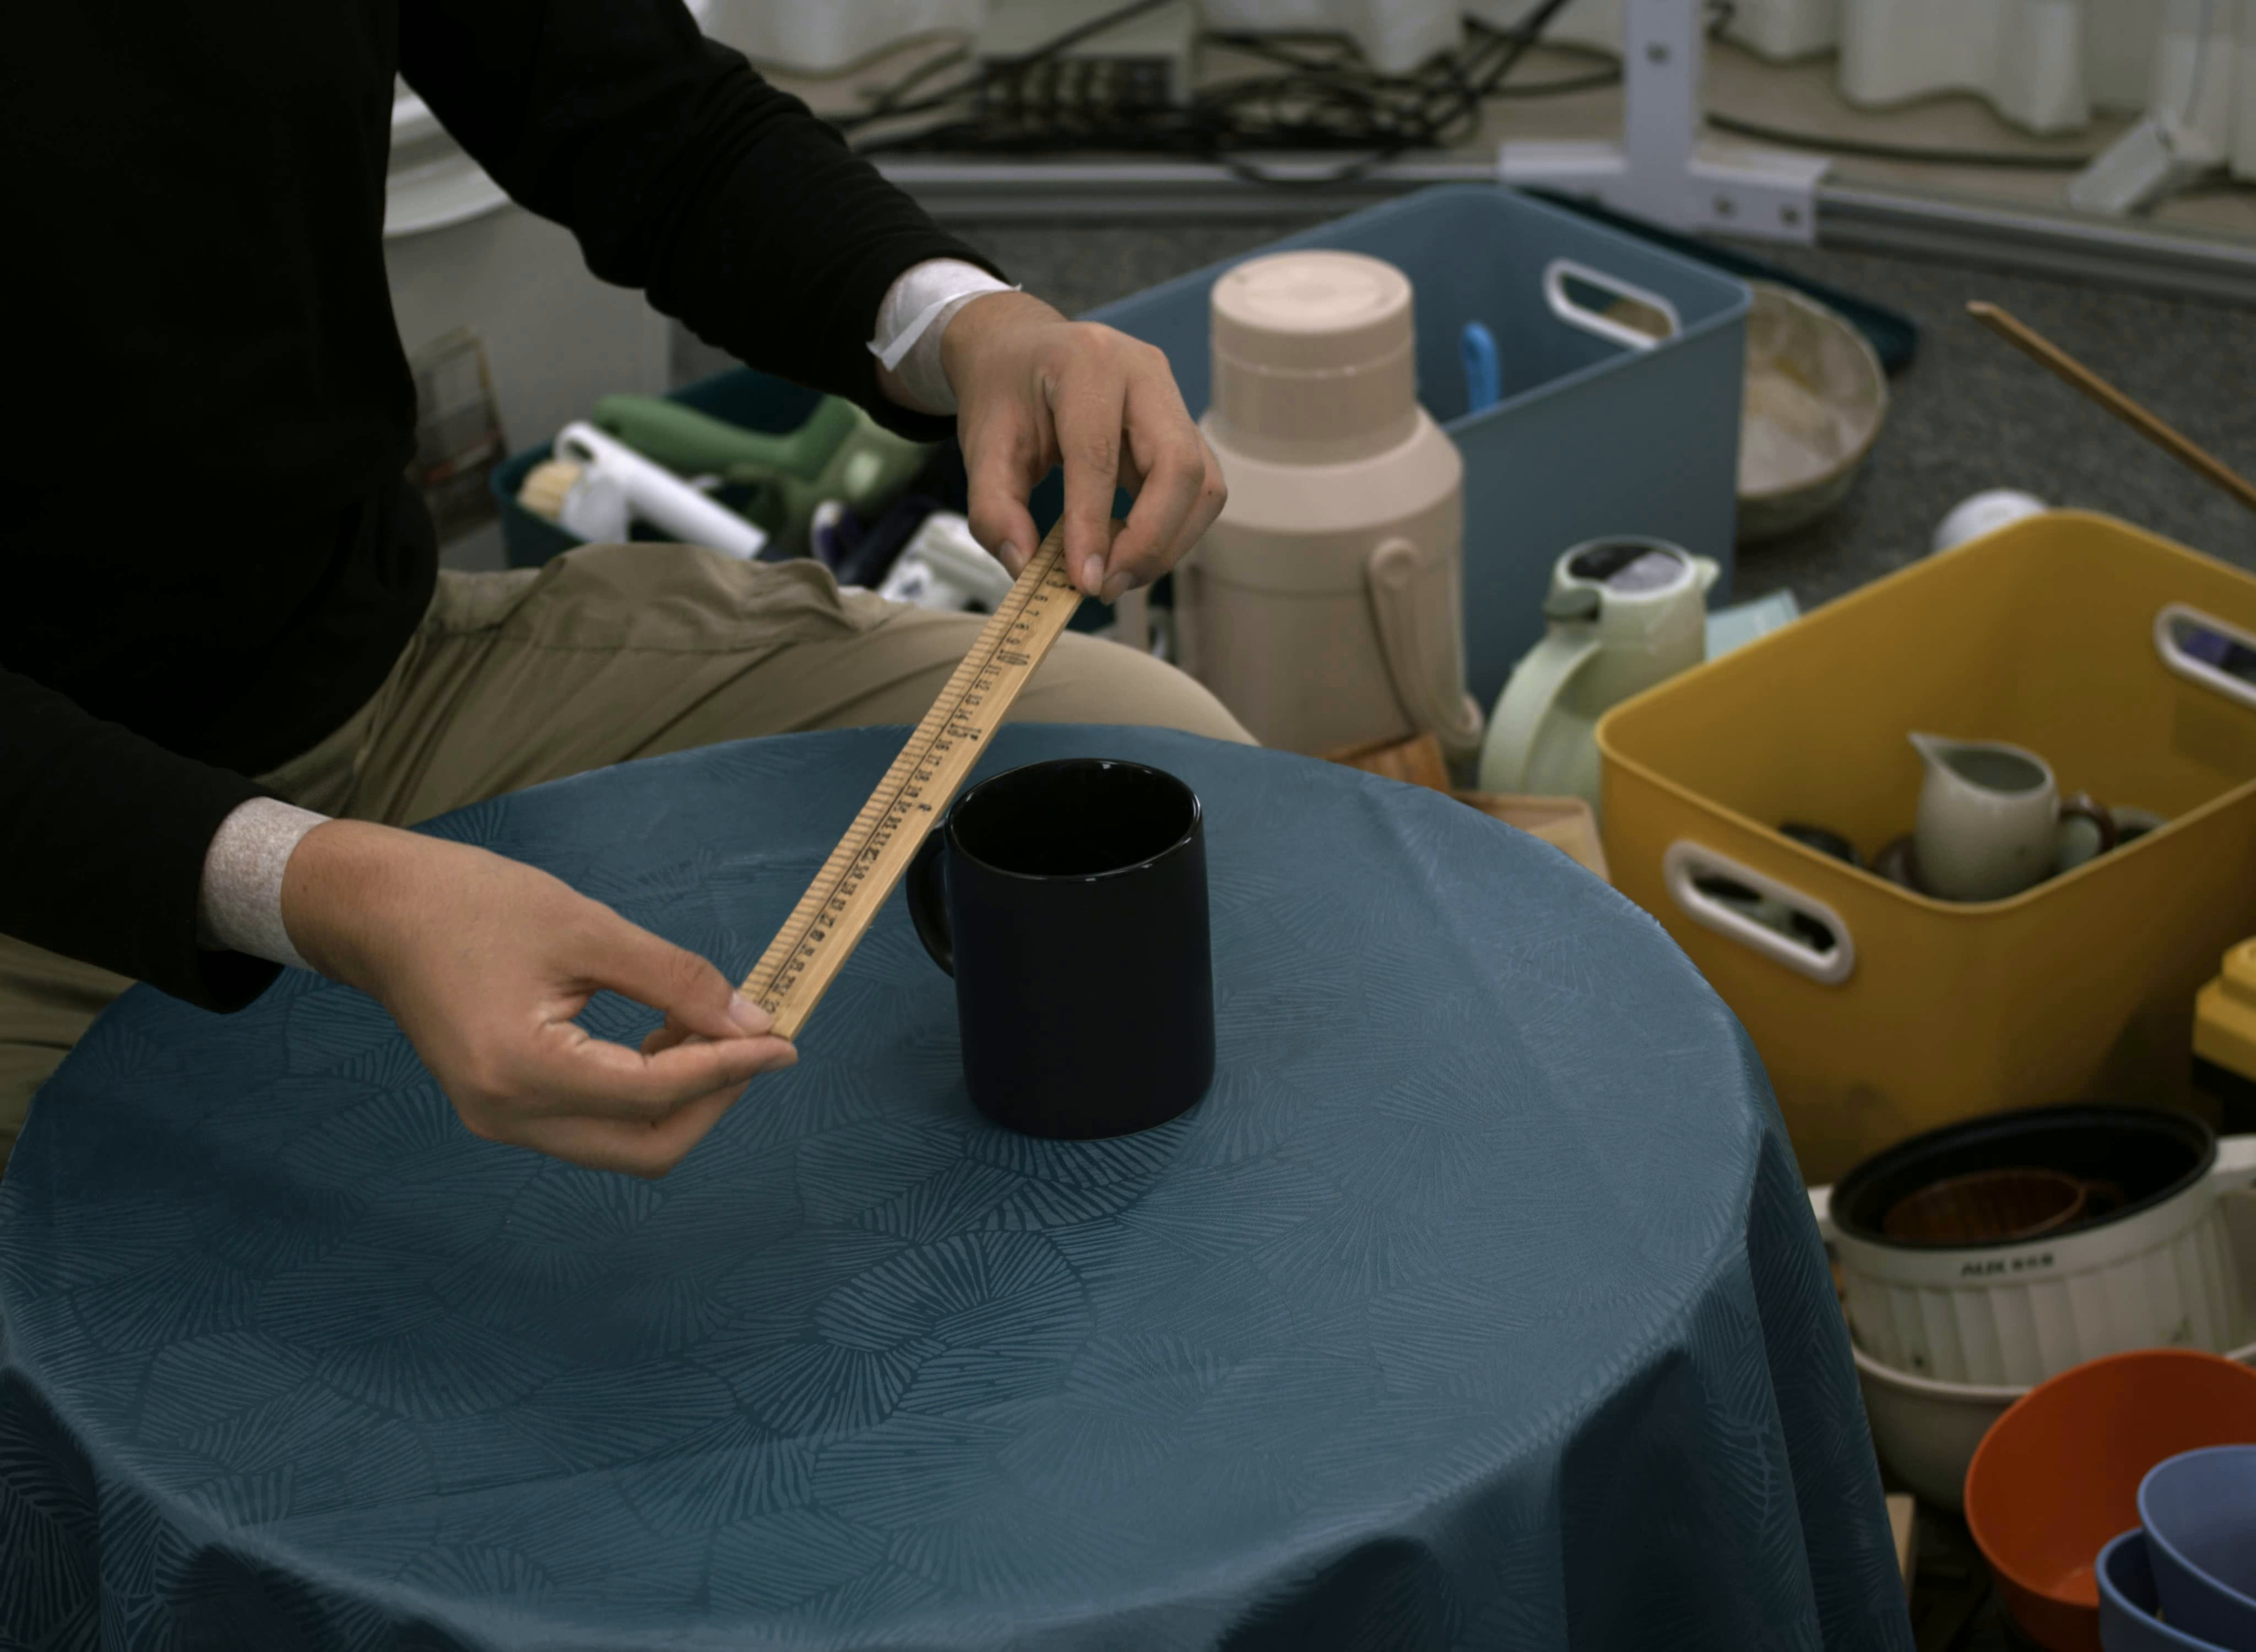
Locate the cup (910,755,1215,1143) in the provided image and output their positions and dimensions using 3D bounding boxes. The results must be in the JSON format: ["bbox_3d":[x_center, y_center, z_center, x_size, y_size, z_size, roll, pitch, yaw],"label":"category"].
[{"bbox_3d":[-0.029,0.036,1.918,0.123,0.104,0.090,23,38,40],"label":"cup"}]

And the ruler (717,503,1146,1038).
[{"bbox_3d":[-0.062,-0.027,1.898,0.027,0.022,0.338,17,36,13],"label":"ruler"}]
